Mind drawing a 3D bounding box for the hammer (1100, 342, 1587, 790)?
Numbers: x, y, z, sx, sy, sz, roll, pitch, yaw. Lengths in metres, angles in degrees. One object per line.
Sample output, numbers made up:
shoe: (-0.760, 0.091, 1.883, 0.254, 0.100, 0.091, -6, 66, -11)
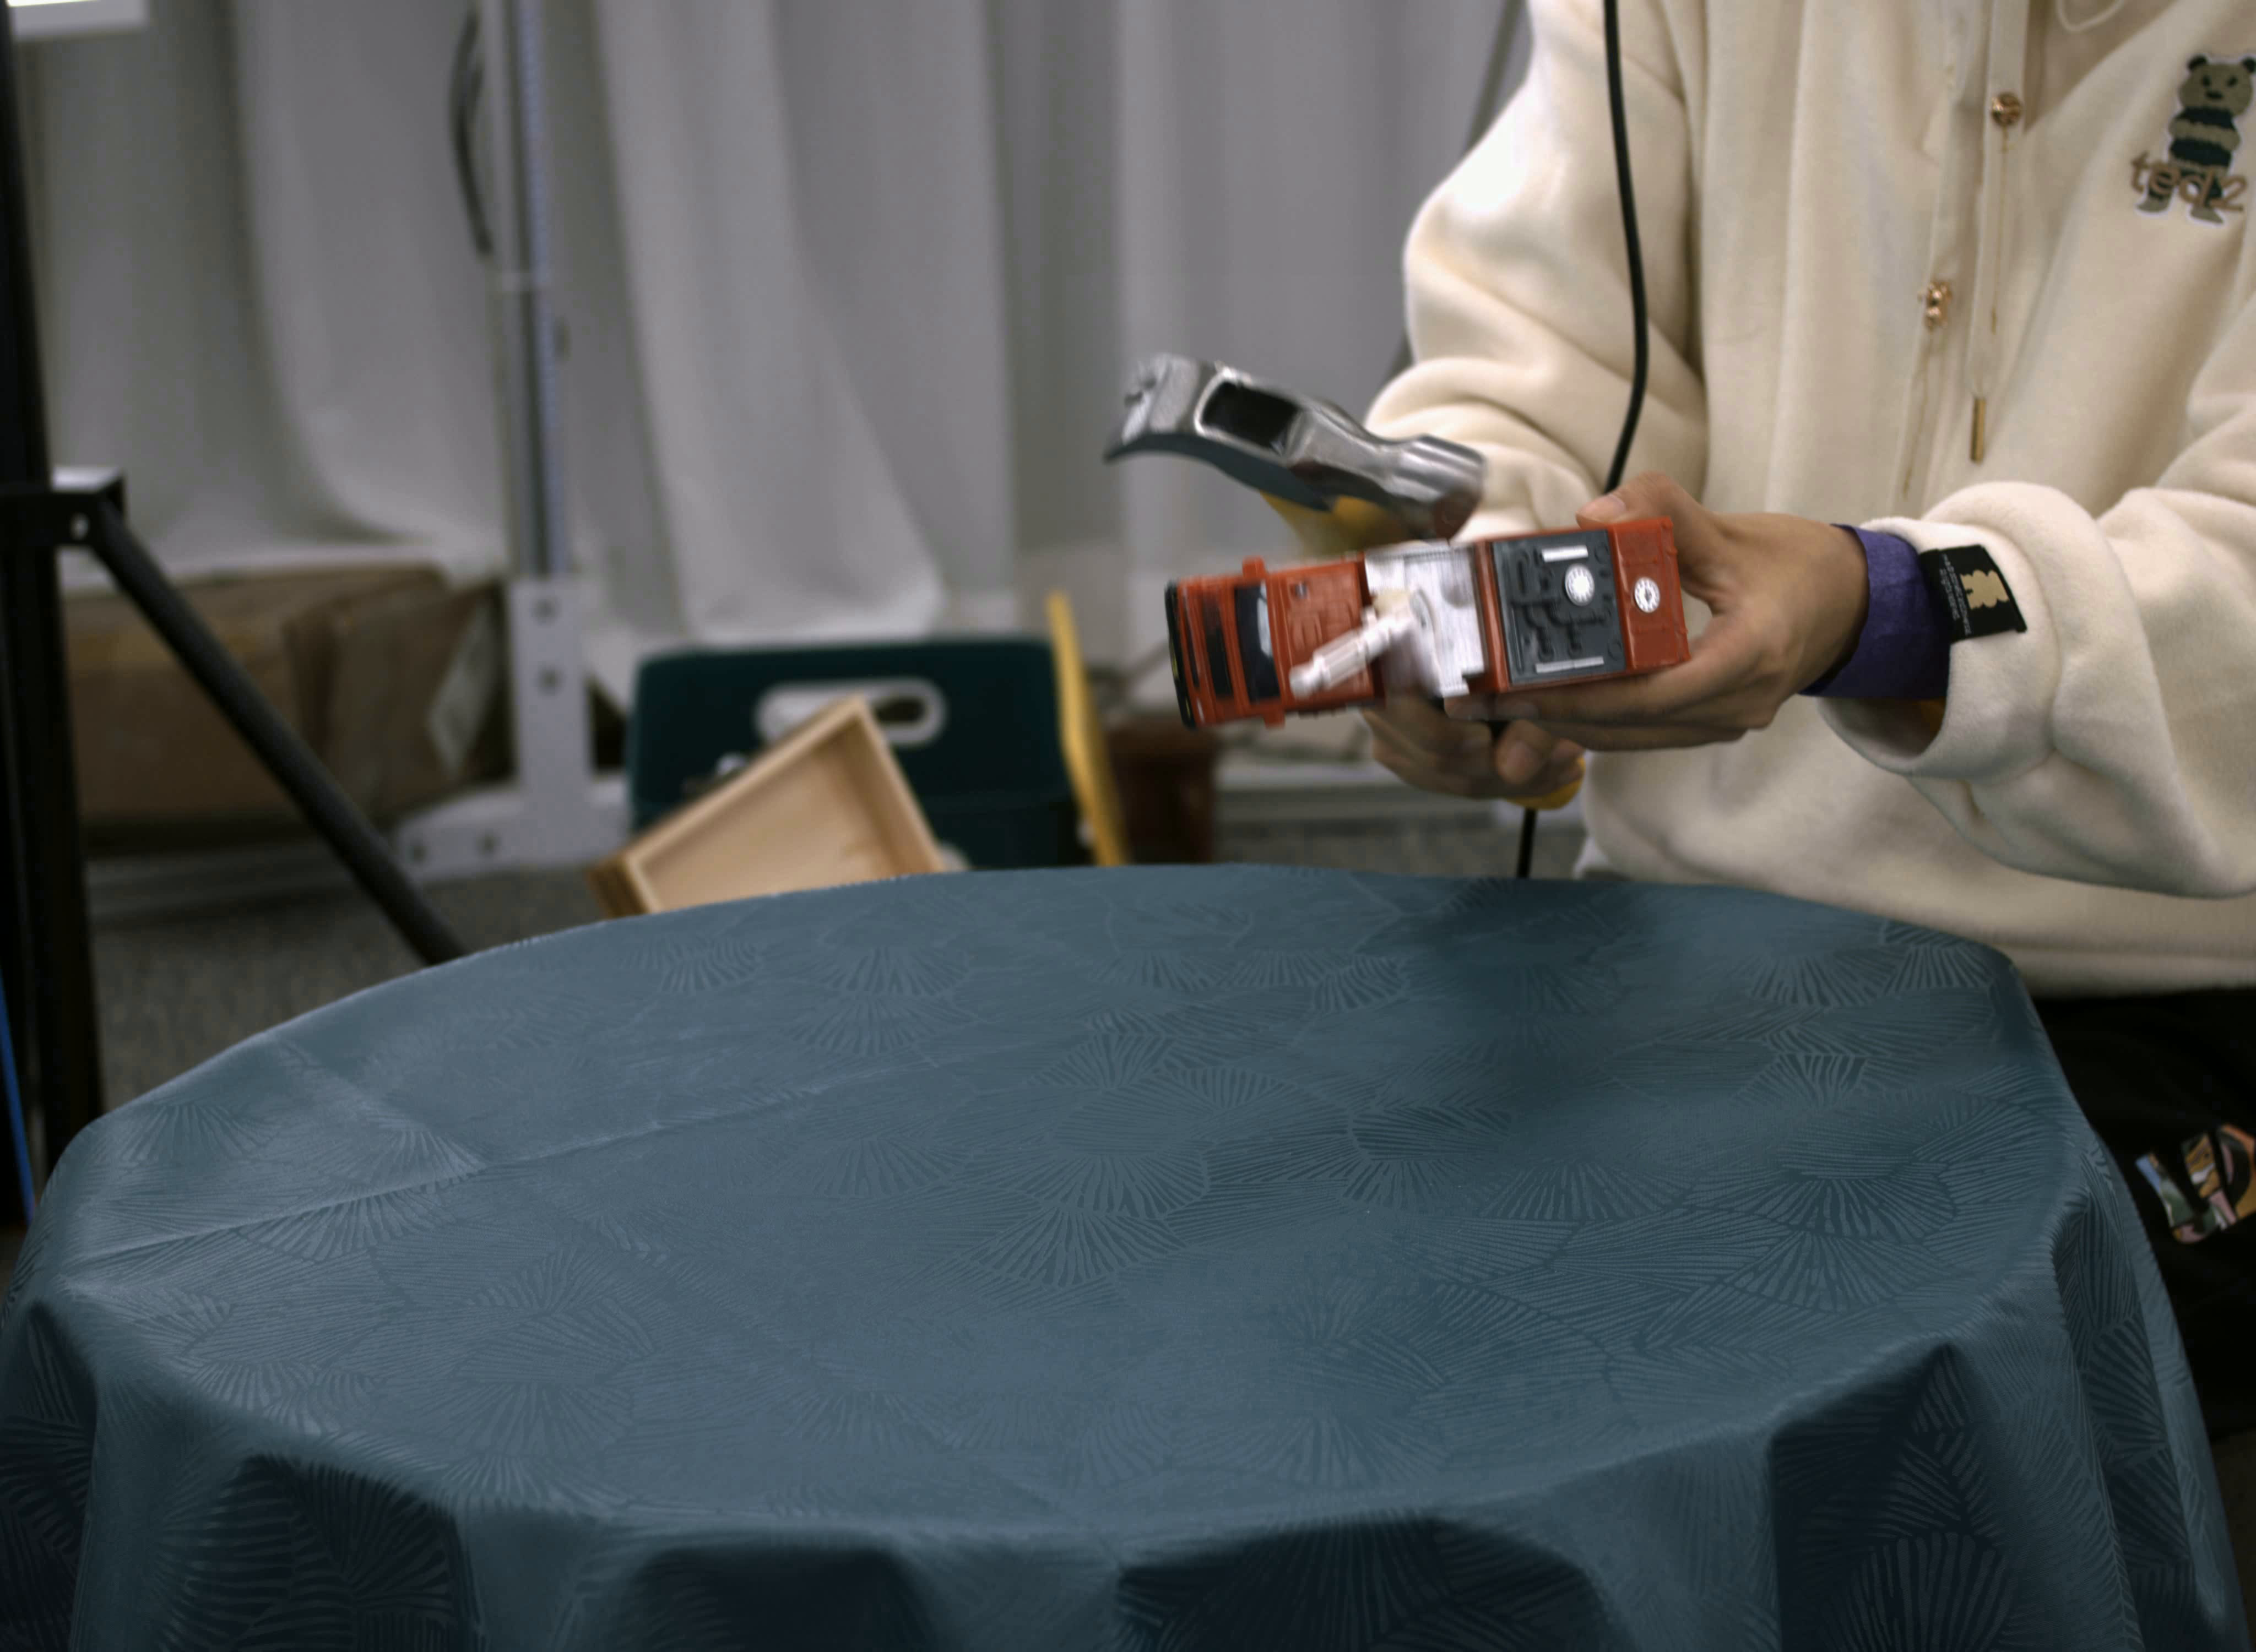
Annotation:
hammer: (0.089, -0.075, 1.694, 0.133, 0.032, 0.332, 22, -9, 25)

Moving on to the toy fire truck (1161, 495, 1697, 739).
toy fire truck: (0.088, -0.060, 1.535, 0.164, 0.054, 0.071, -8, -1, -35)
